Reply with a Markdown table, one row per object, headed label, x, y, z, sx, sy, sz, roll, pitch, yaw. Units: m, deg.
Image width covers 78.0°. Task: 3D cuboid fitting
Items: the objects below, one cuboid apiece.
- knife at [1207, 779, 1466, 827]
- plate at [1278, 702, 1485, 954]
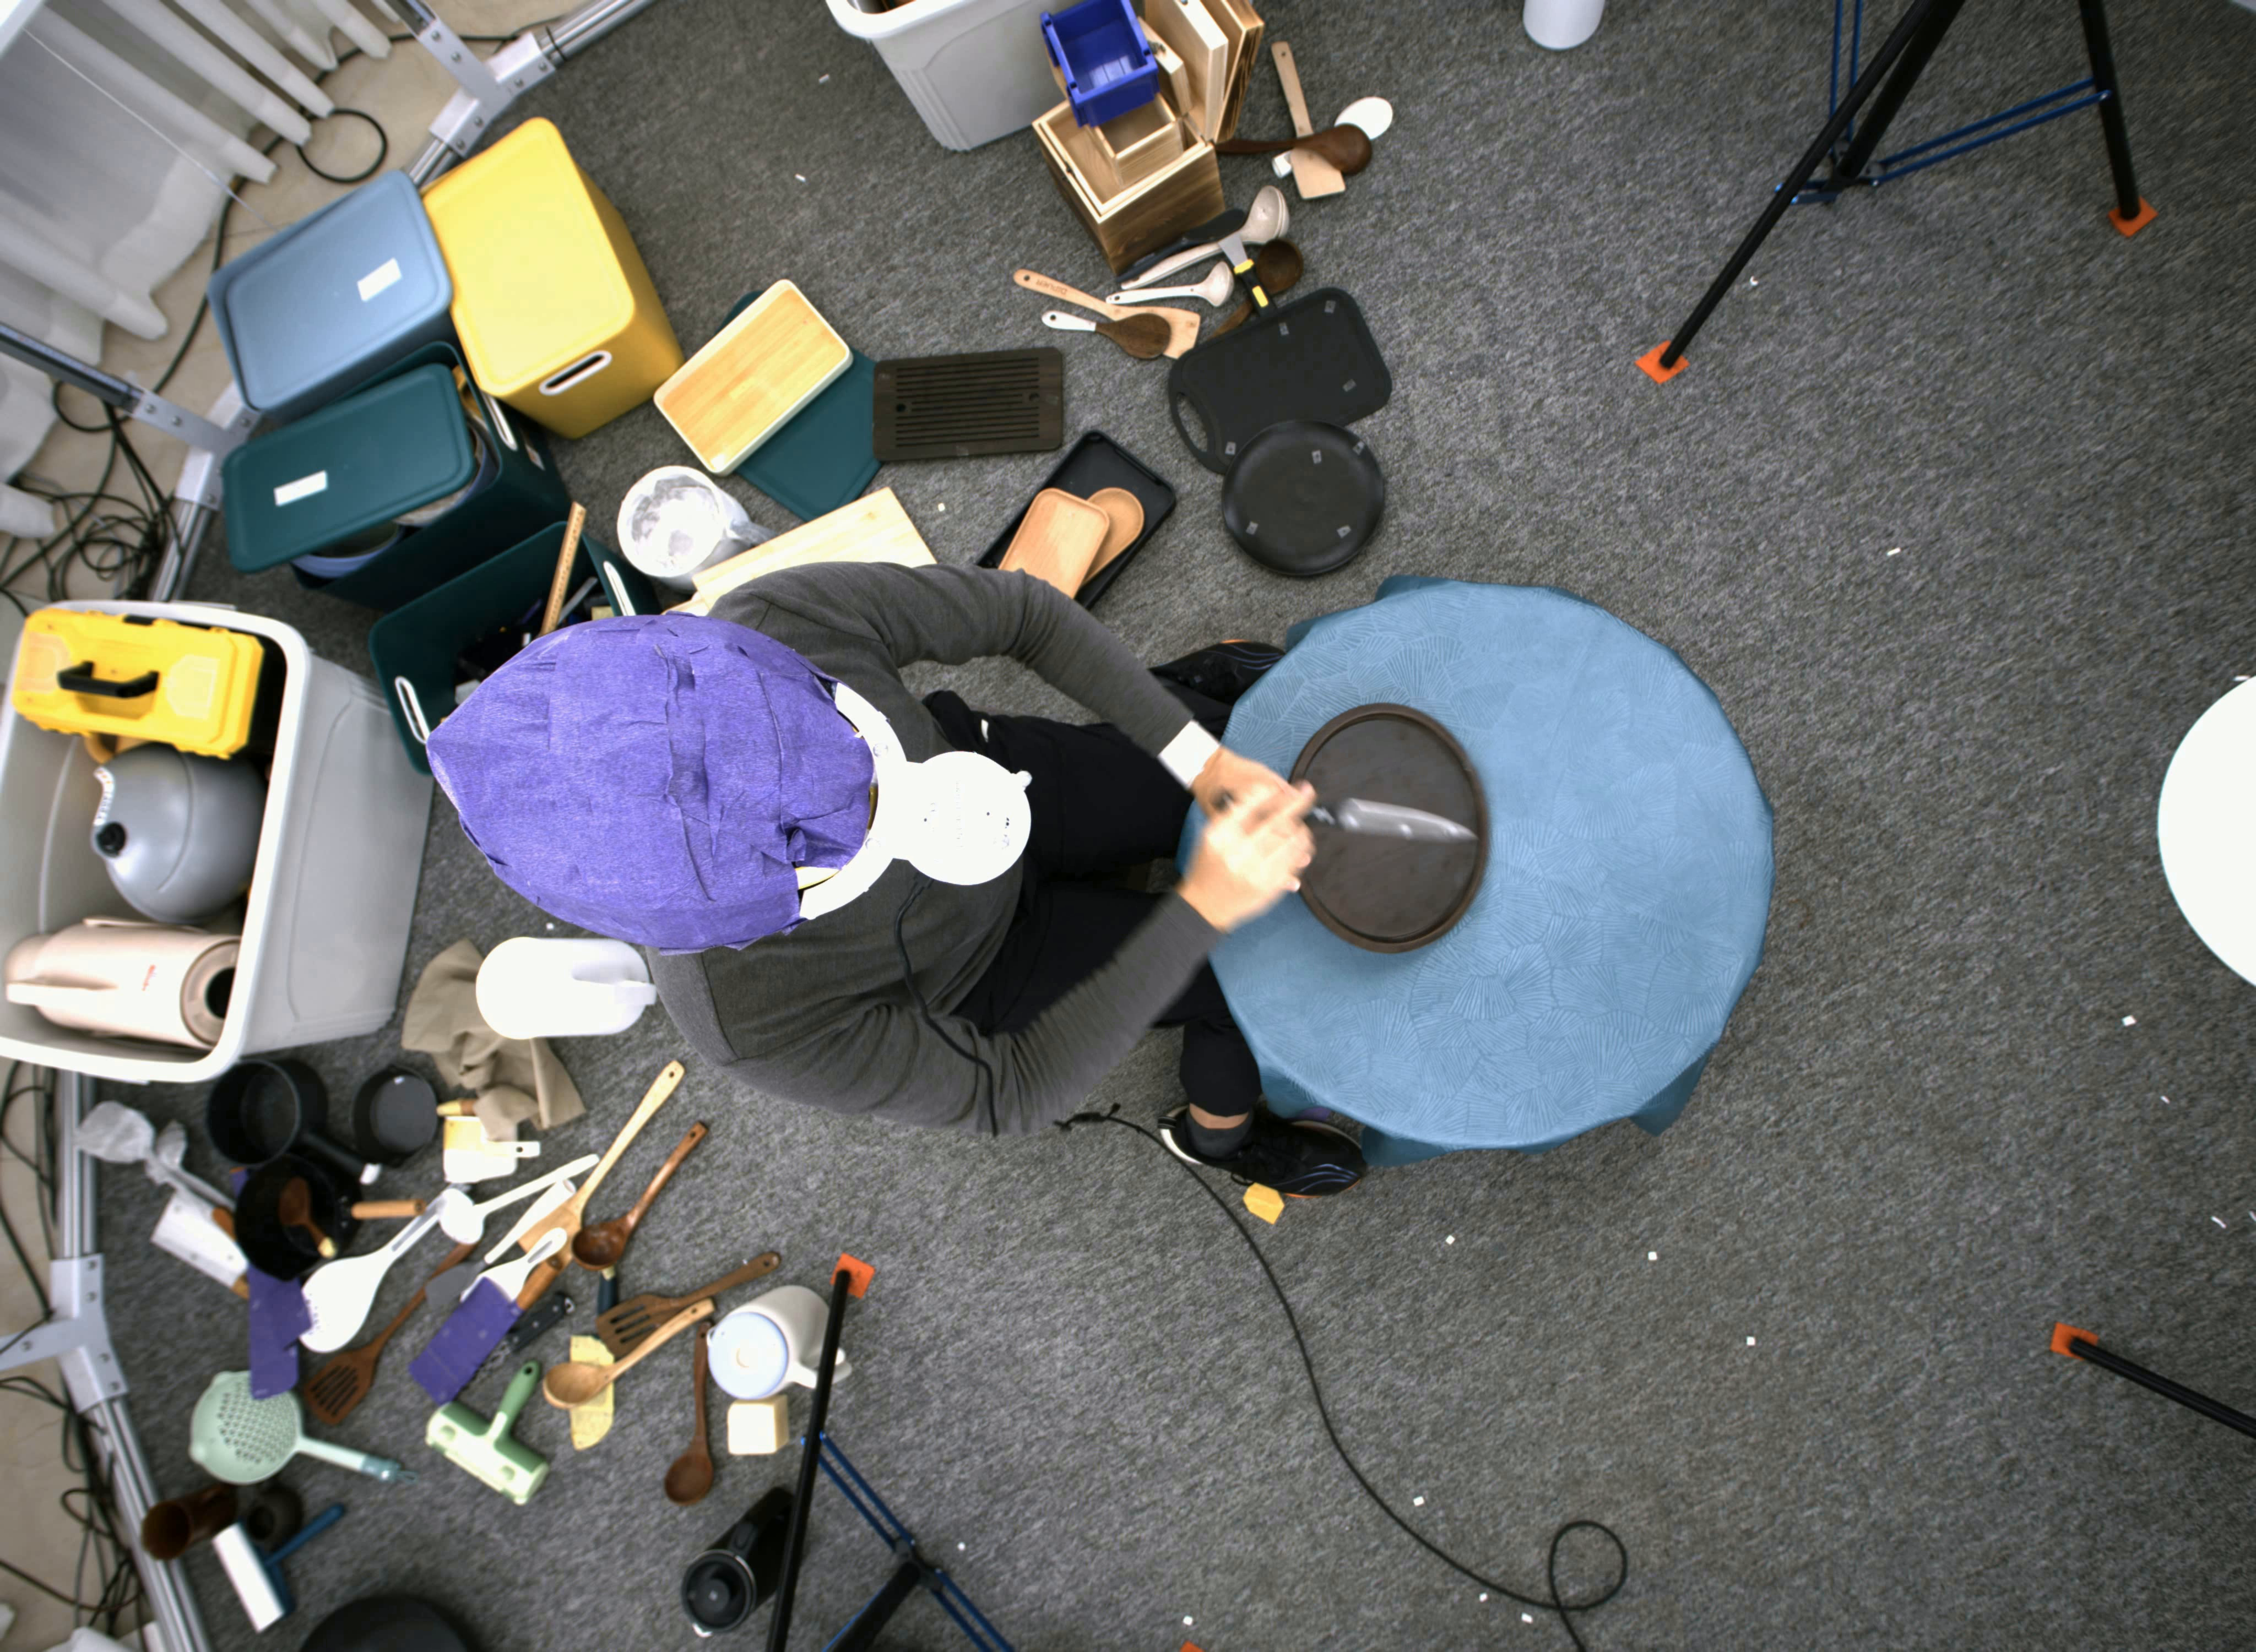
| label | x | y | z | sx | sy | sz | roll | pitch | yaw |
| --- | --- | --- | --- | --- | --- | --- | --- | --- | --- |
| knife | 0.184 | -0.017 | 1.201 | 0.238 | 0.016 | 0.024 | 7 | 88 | -10 |
| plate | 0.257 | 0.001 | 1.389 | 0.253 | 0.029 | 0.254 | 2 | 88 | -27 |
